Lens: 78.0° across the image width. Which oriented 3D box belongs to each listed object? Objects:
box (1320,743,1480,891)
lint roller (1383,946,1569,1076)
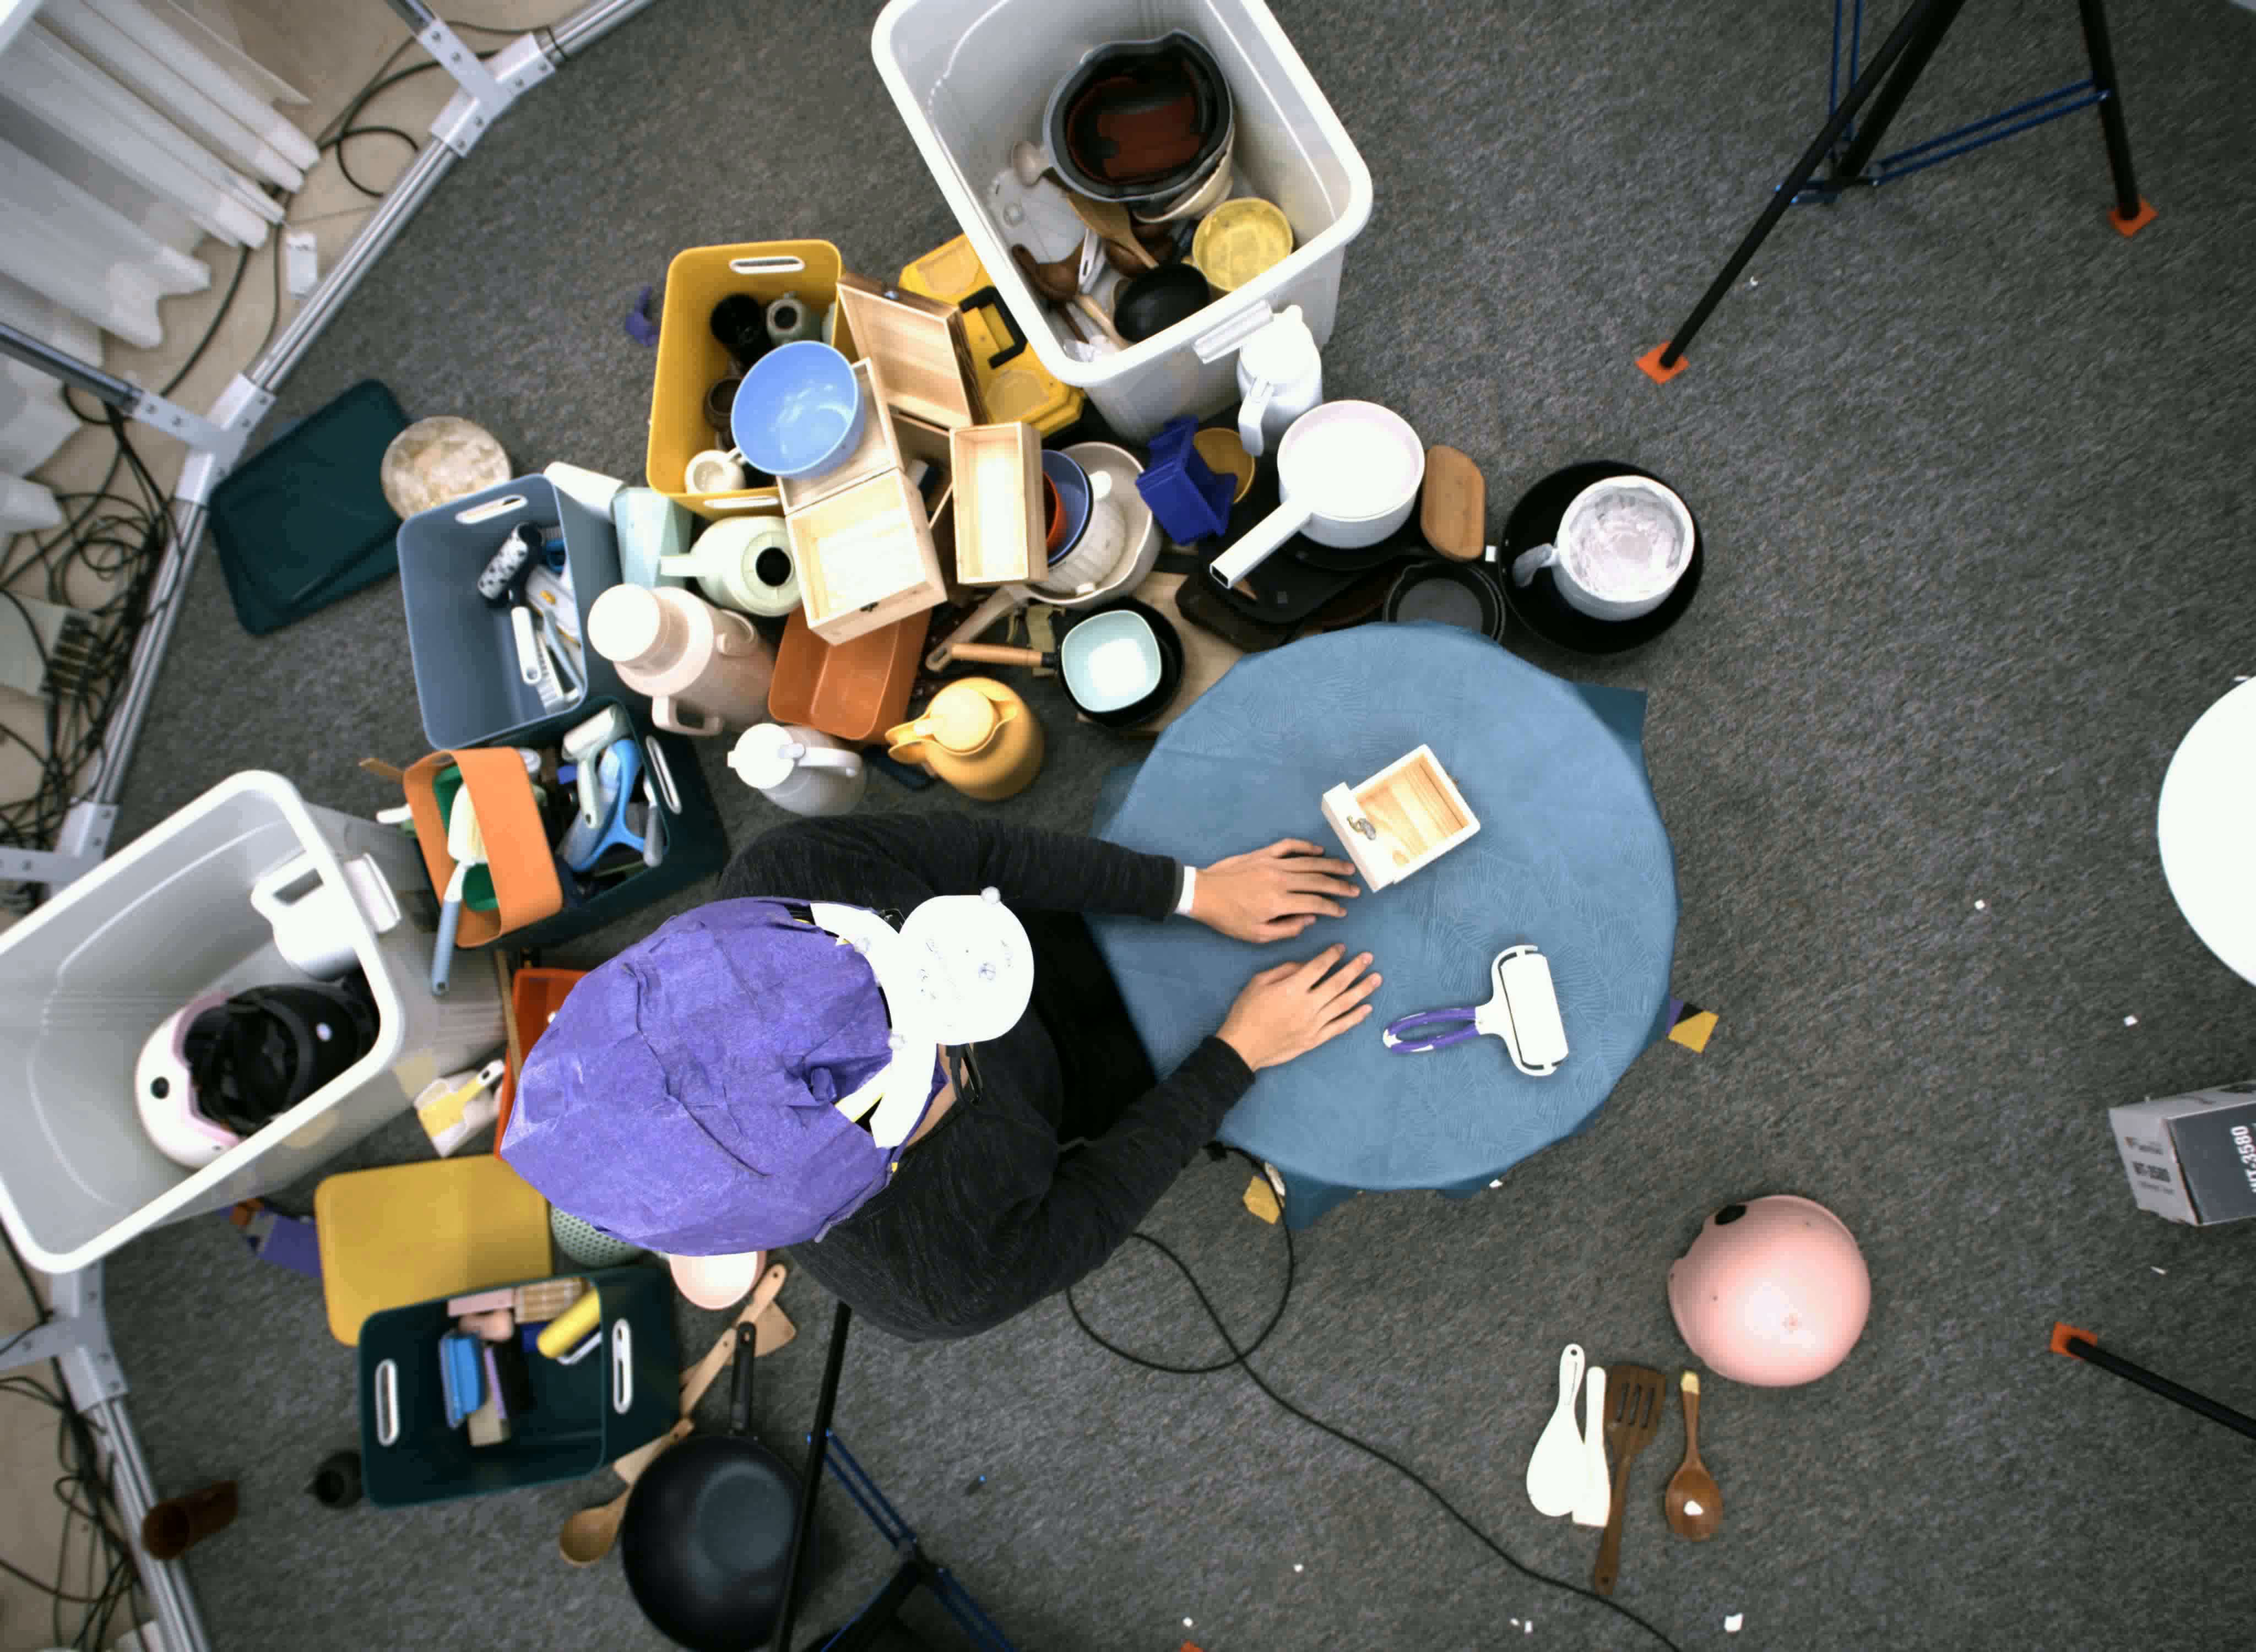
[{"bbox_3d":[0.273,-0.013,1.372,0.134,0.184,0.102,-33,80,6],"label":"box"},{"bbox_3d":[0.351,0.198,1.414,0.181,0.050,0.132,-11,86,8],"label":"lint roller"}]
